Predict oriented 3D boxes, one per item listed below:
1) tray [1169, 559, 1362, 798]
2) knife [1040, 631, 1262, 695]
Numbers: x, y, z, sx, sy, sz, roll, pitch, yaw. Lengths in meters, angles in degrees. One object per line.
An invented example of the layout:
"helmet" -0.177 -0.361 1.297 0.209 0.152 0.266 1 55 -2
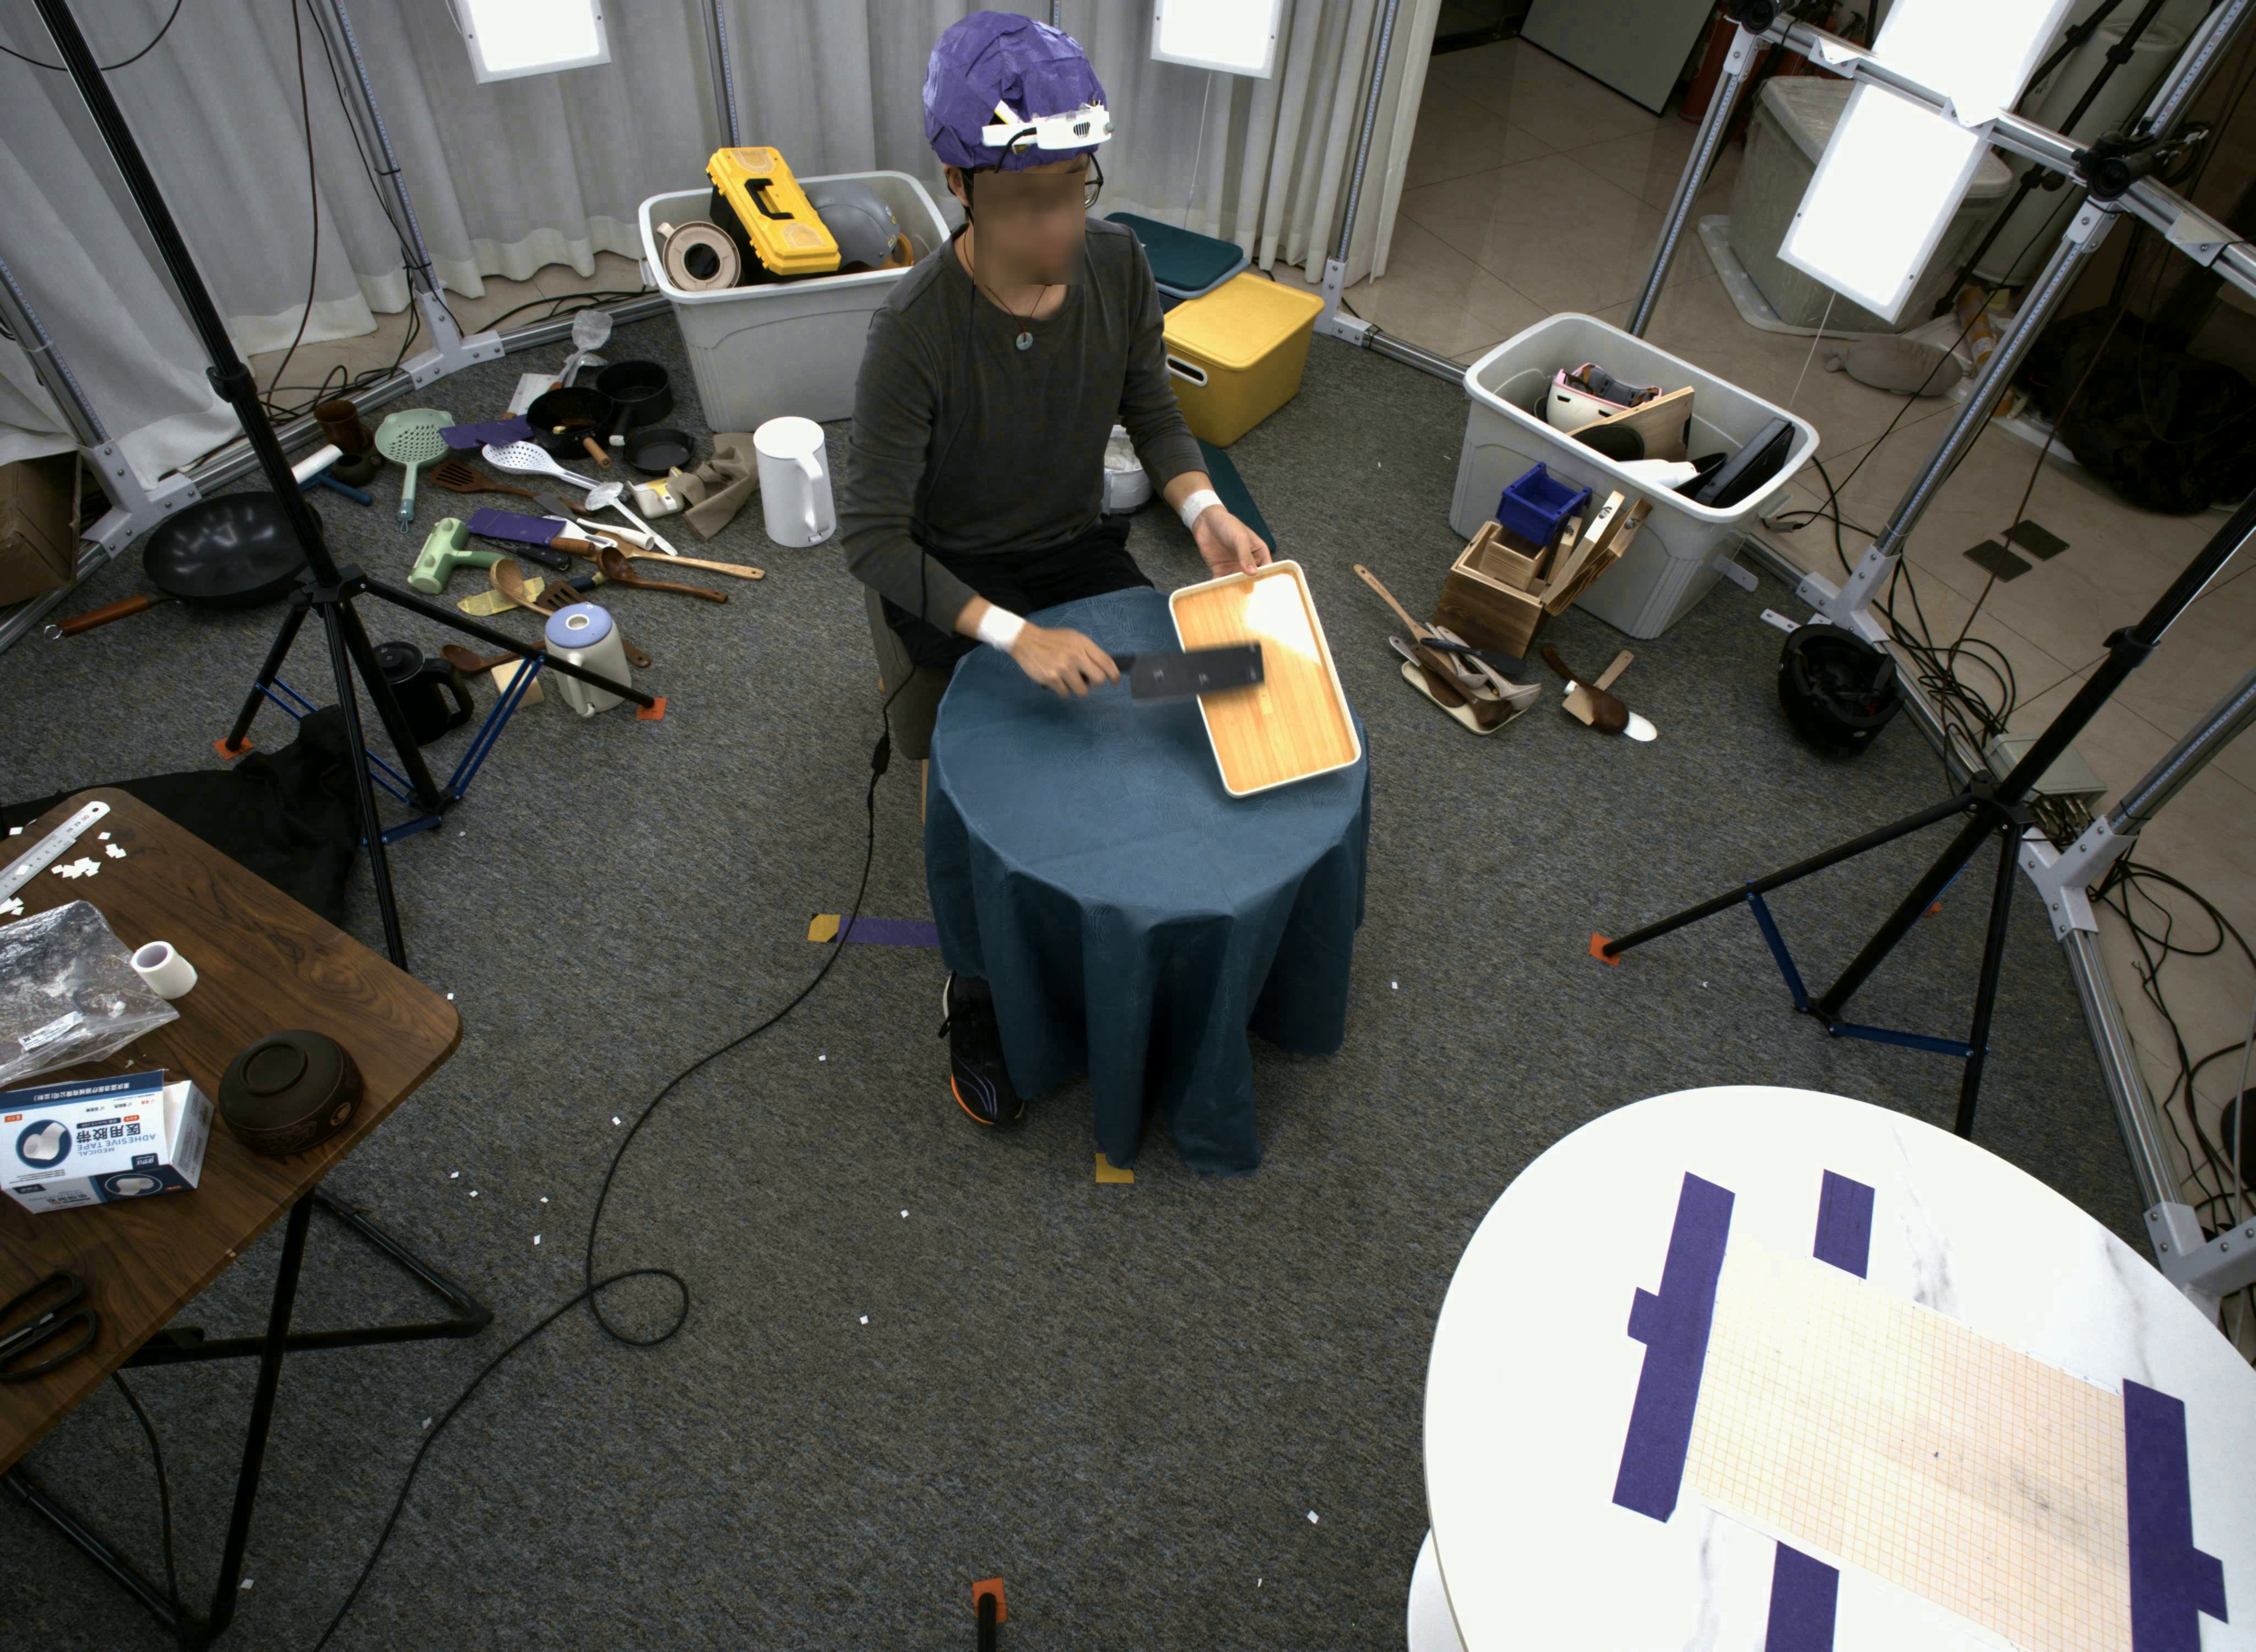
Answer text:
"tray" 0.183 -0.201 1.734 0.191 0.027 0.303 -15 77 -3
"knife" 0.029 -0.216 1.733 0.302 0.020 0.082 -3 79 9
